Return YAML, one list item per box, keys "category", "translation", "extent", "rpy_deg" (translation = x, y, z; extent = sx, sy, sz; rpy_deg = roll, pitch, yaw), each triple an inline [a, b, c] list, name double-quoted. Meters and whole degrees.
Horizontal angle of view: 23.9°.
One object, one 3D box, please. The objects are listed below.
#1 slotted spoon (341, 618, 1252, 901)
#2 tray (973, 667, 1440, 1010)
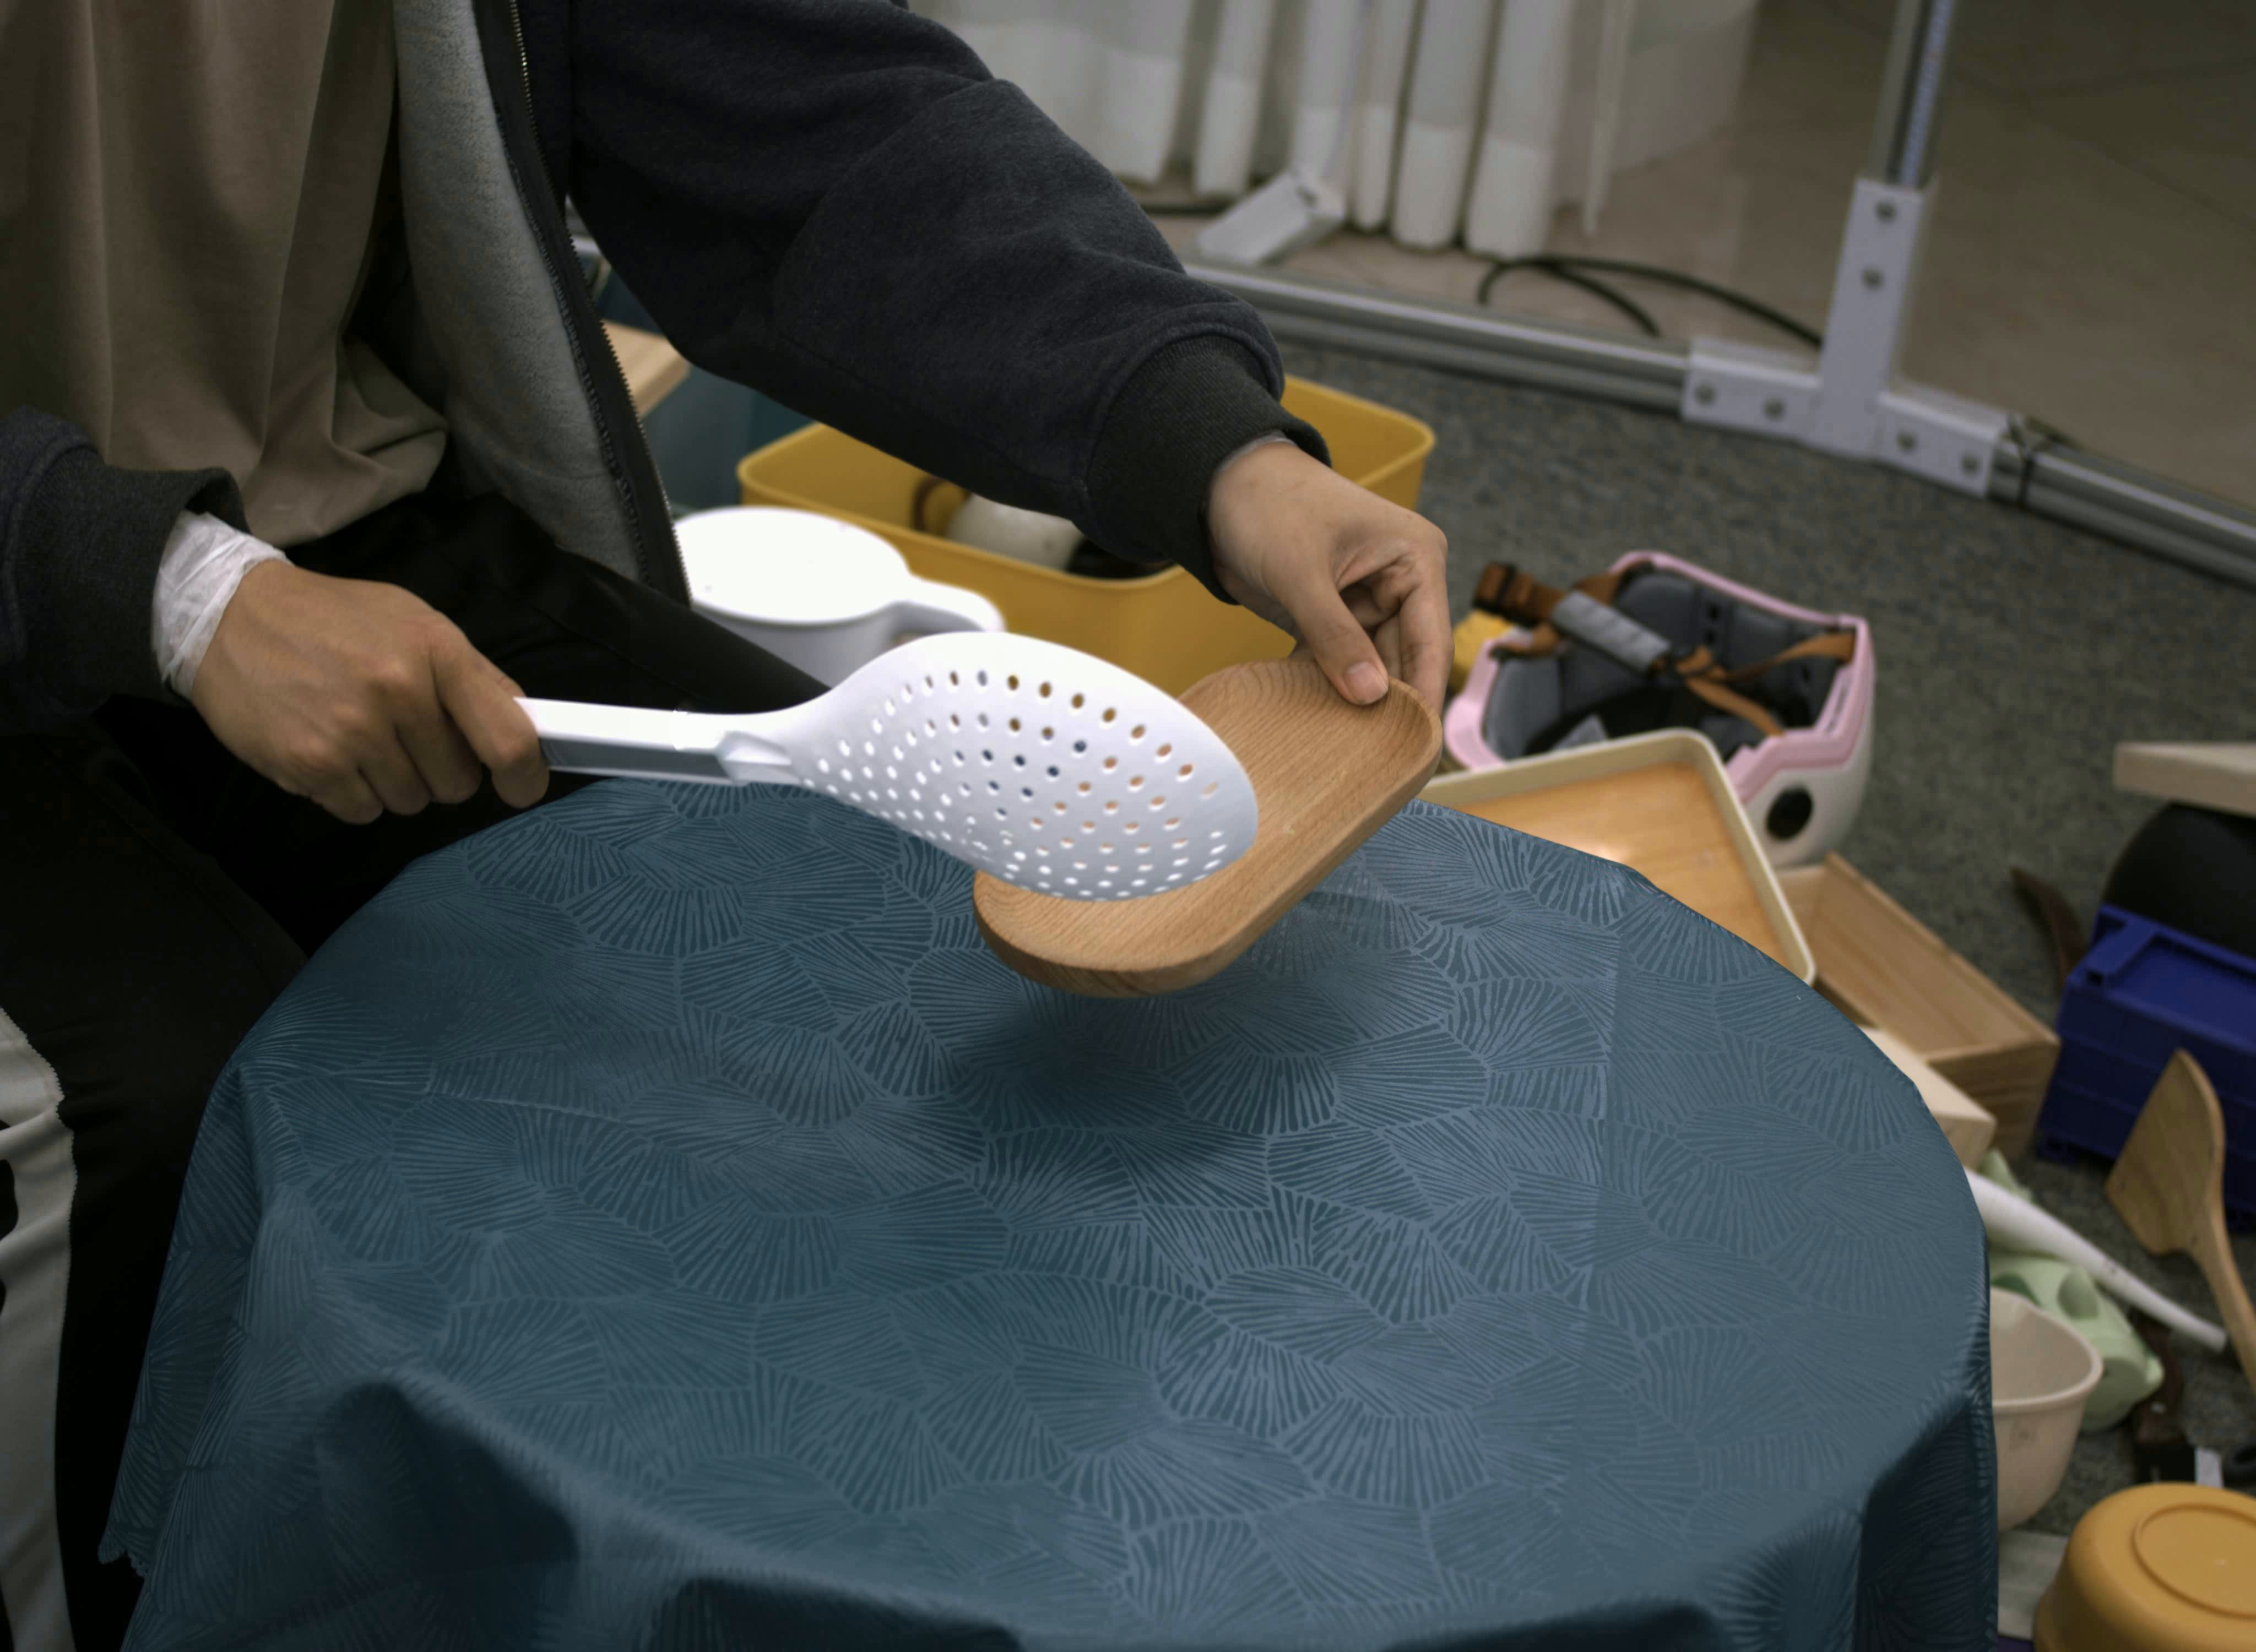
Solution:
- category: "slotted spoon"
  translation: [-0.120, -0.025, 1.787]
  extent: [0.351, 0.135, 0.046]
  rpy_deg: [9, 56, 32]
- category: "tray"
  translation: [0.030, 0.003, 1.901]
  extent: [0.102, 0.020, 0.231]
  rpy_deg: [17, 37, 26]
